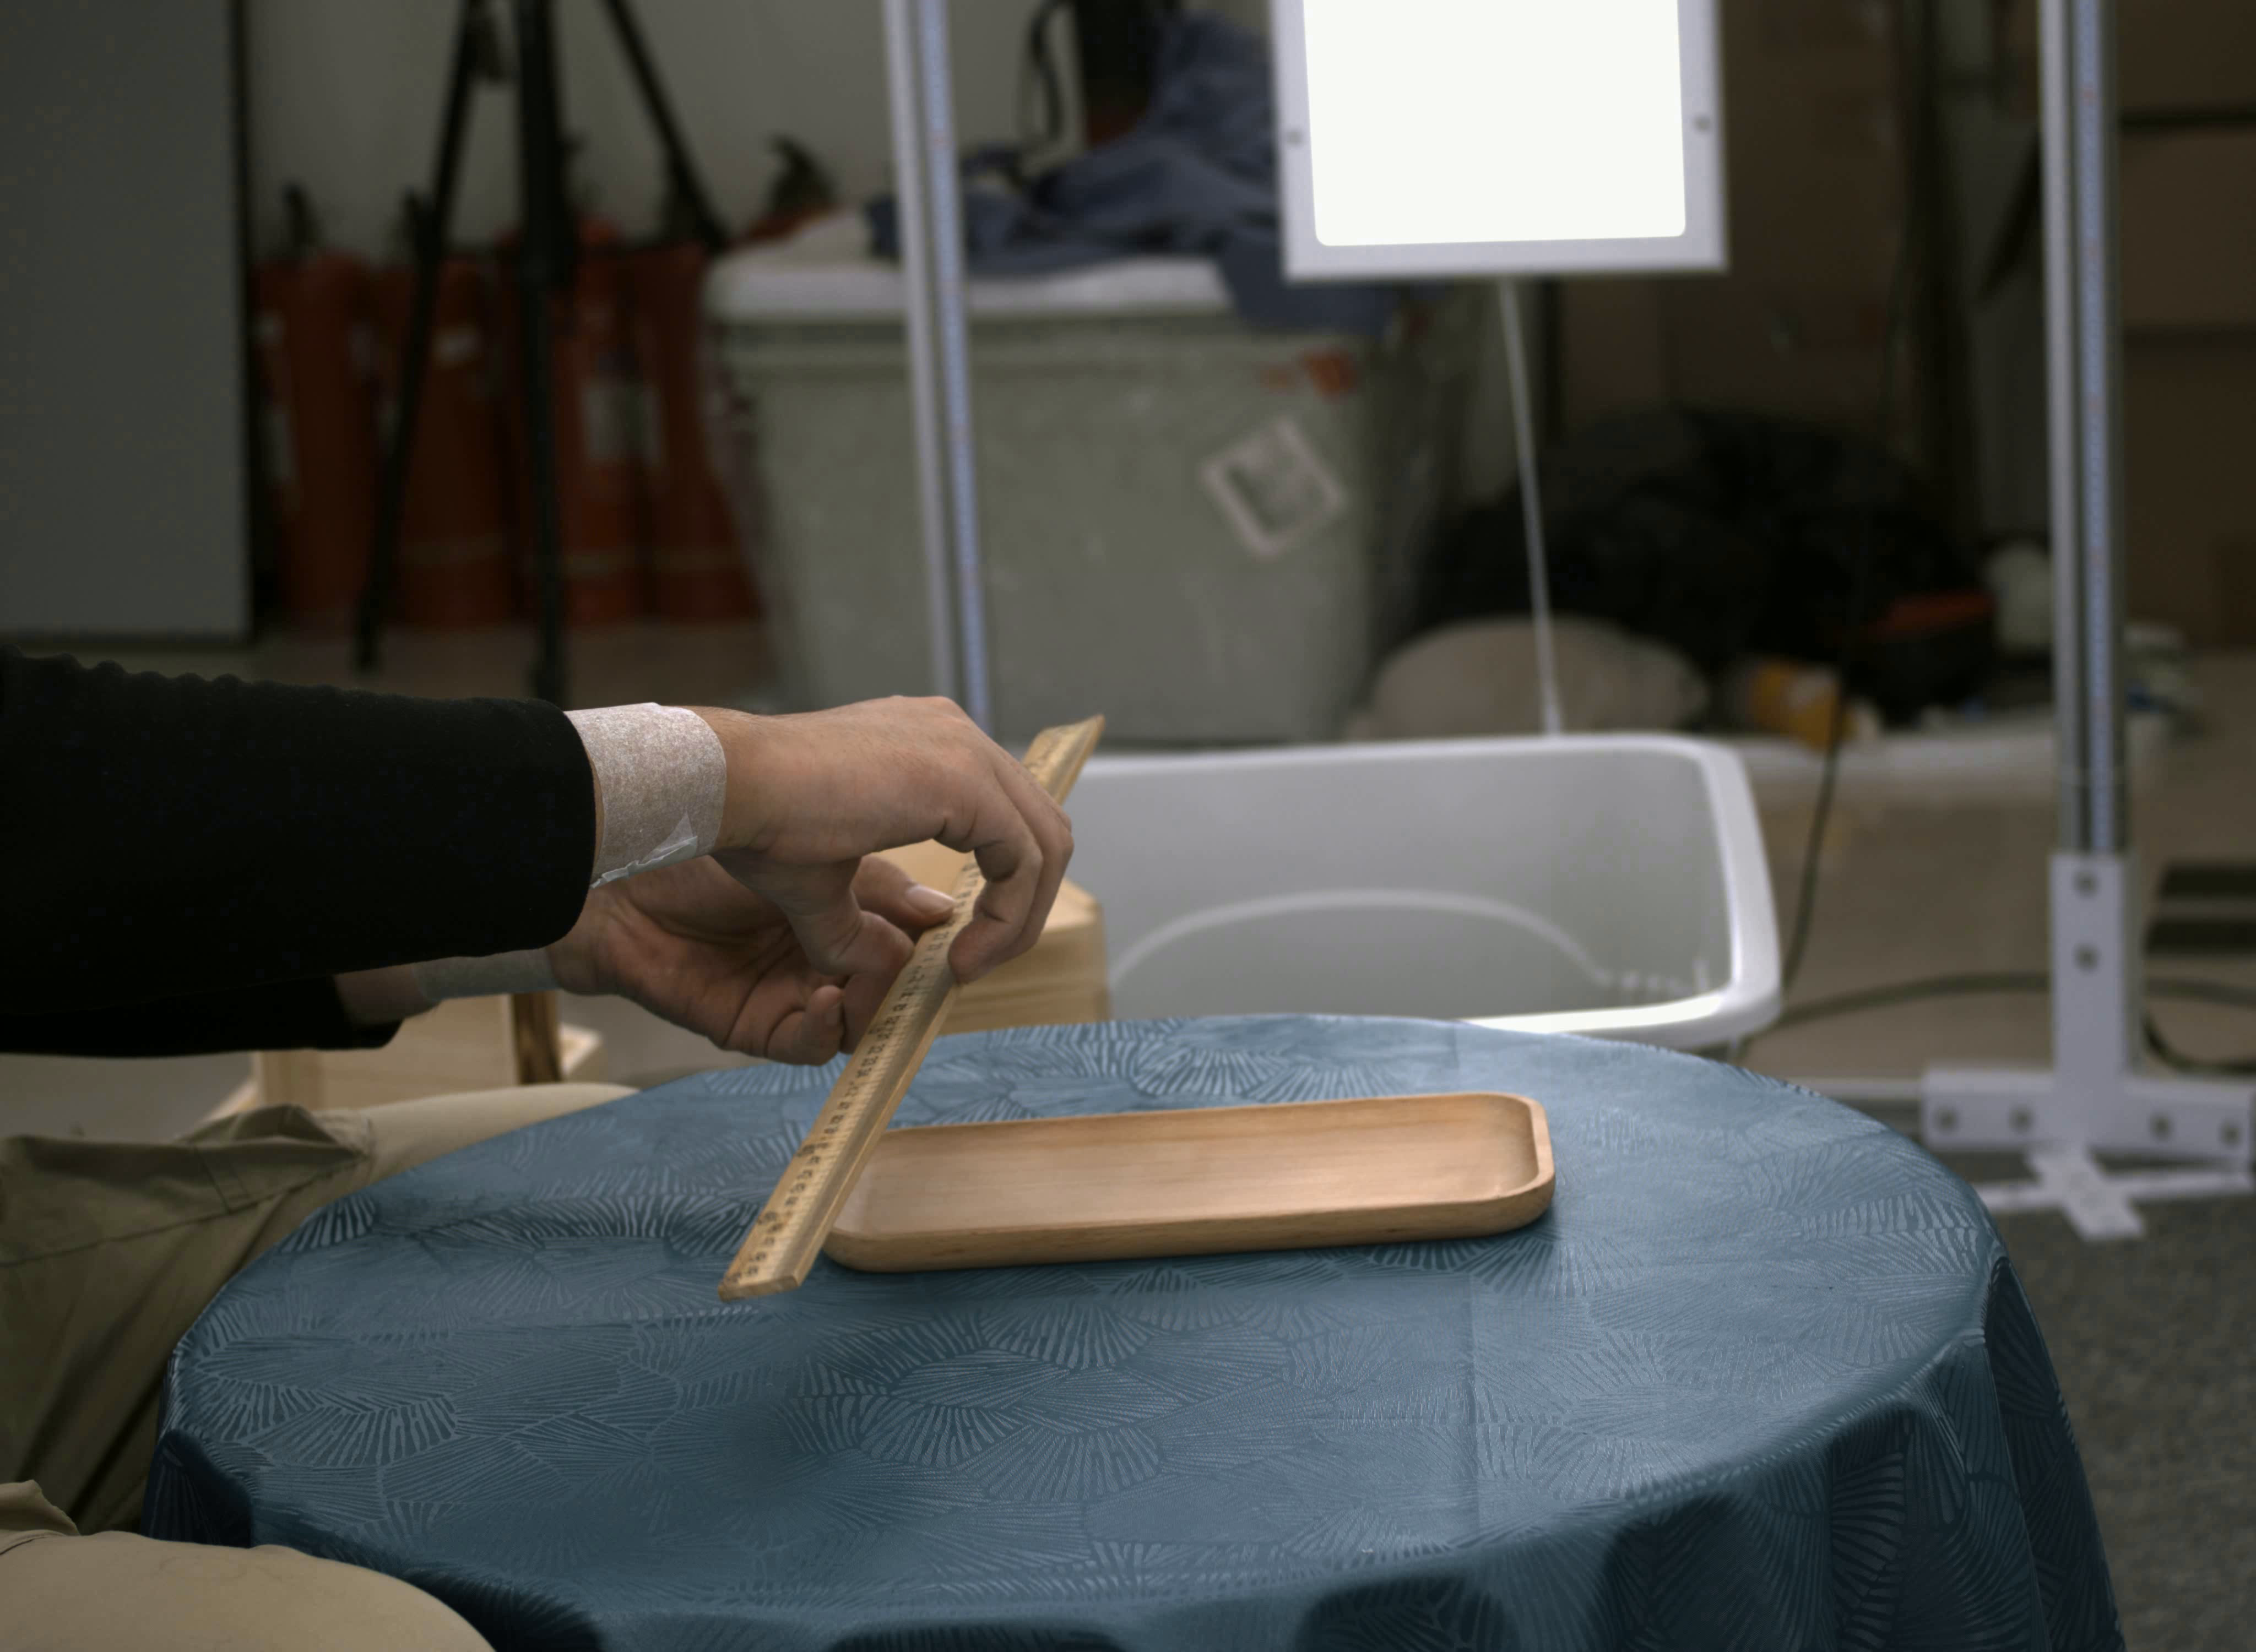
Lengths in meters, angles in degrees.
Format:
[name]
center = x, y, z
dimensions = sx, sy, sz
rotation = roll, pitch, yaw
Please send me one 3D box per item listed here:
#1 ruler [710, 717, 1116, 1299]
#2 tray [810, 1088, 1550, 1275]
[ruler]
center = -0.063, 0.048, 1.817
dimensions = 0.027, 0.006, 0.494
rotation = -17, 16, 17
[tray]
center = 0.019, 0.121, 1.880
dimensions = 0.251, 0.023, 0.130
rotation = -5, 12, 6
